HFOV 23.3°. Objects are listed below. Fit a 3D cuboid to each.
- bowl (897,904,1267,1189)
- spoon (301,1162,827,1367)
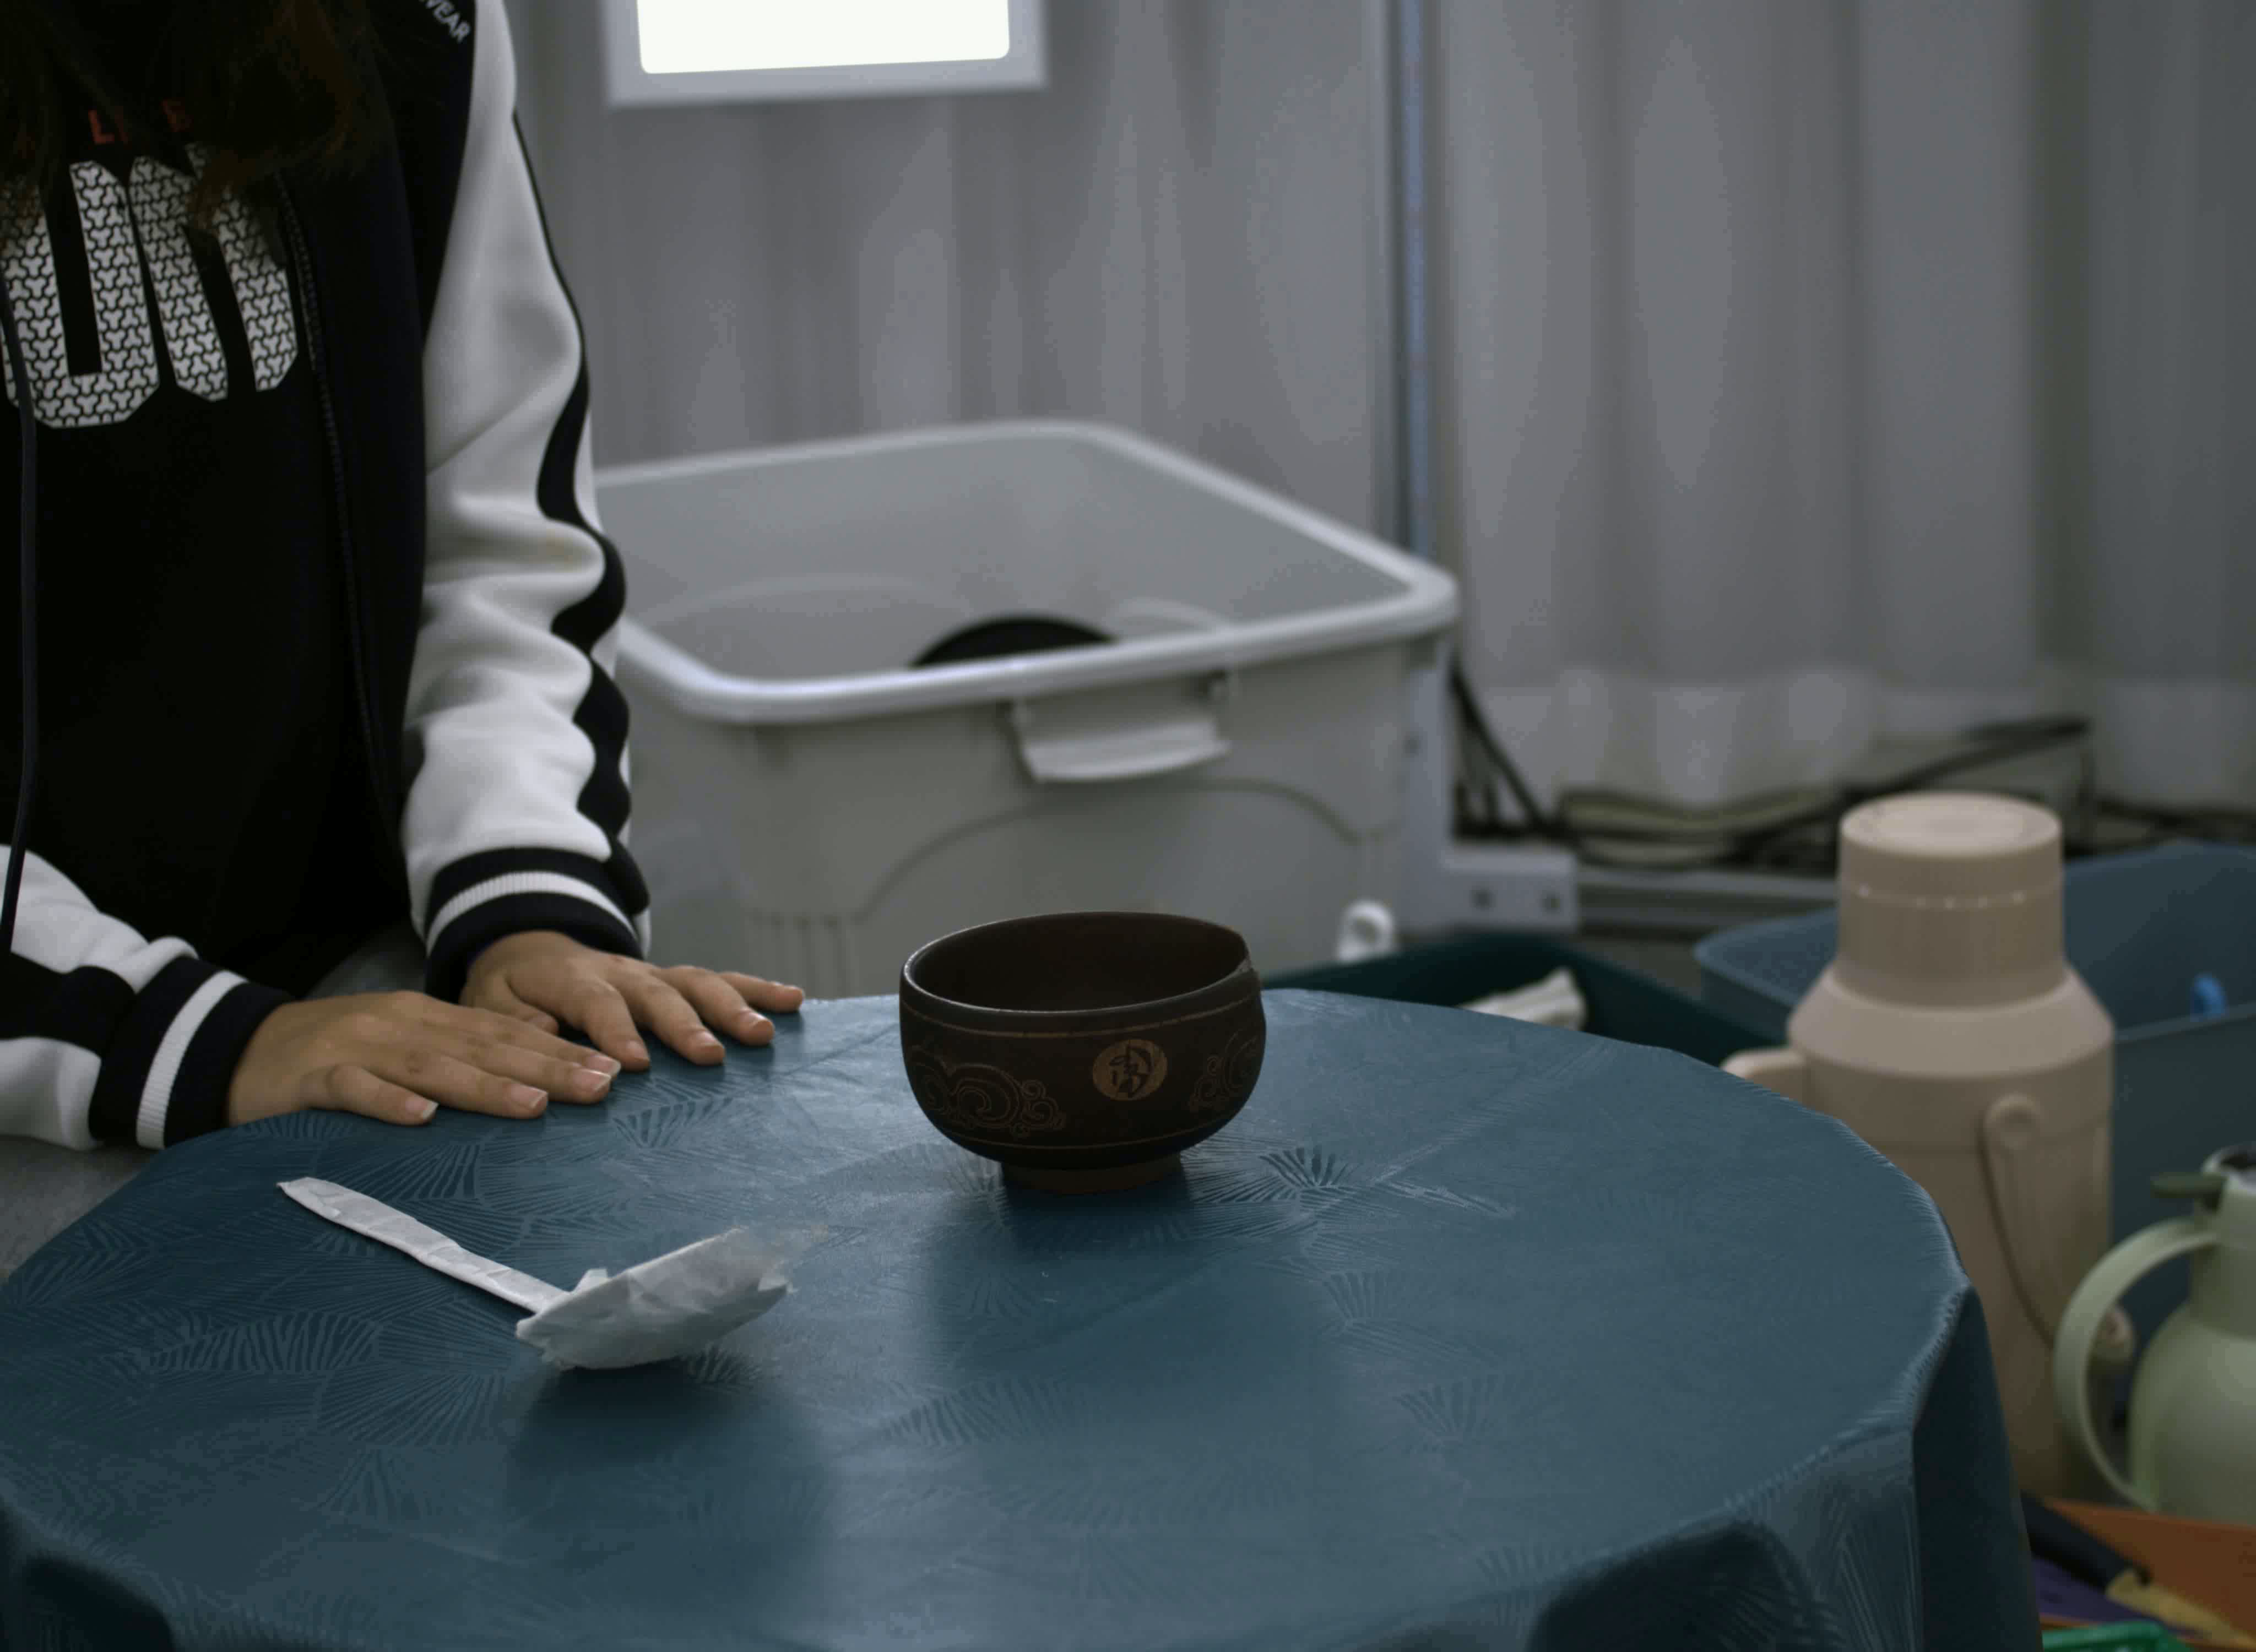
[{"bbox_3d":[-0.014,0.073,1.731,0.117,0.069,0.119,-3,14,0],"label":"bowl"},{"bbox_3d":[-0.182,0.112,1.649,0.100,0.059,0.279,-8,15,-32],"label":"spoon"}]
